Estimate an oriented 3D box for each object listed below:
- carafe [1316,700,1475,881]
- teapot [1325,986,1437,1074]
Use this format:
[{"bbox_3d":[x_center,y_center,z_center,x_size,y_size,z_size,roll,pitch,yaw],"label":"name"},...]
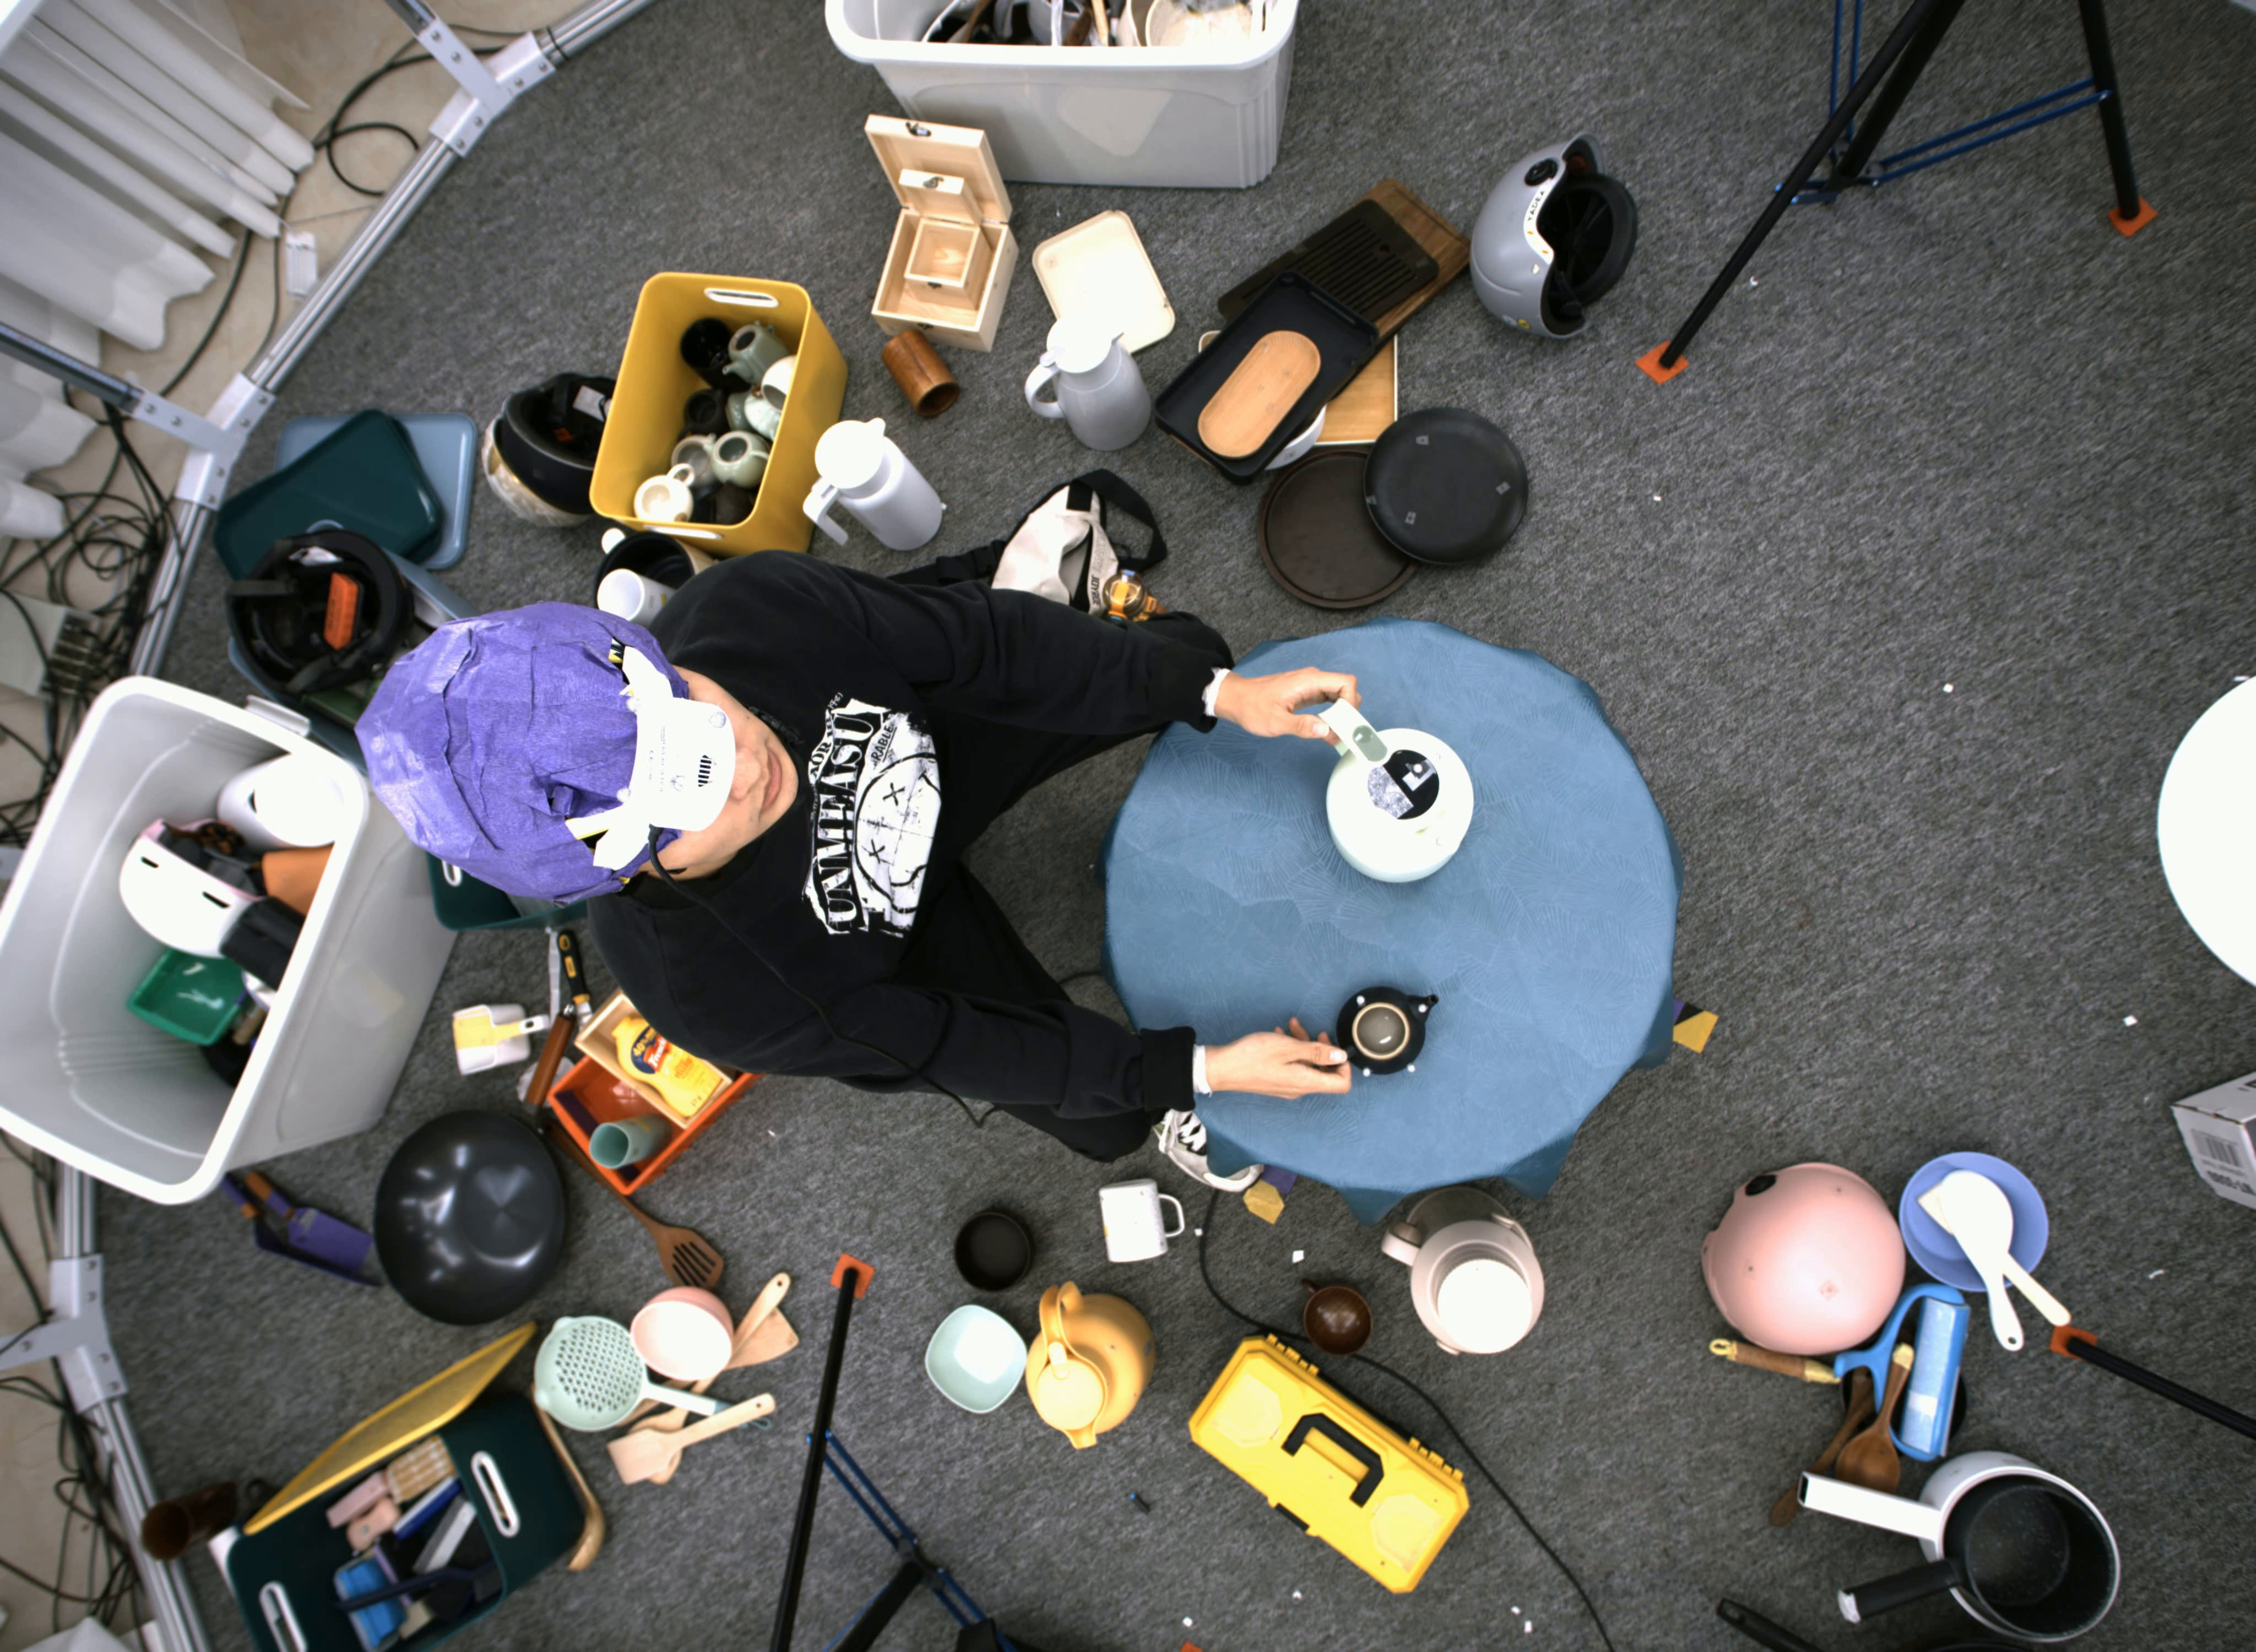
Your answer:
[{"bbox_3d":[0.256,-0.037,1.342,0.145,0.257,0.185,-39,77,6],"label":"carafe"},{"bbox_3d":[0.260,0.210,1.429,0.134,0.053,0.090,-33,79,7],"label":"teapot"}]
